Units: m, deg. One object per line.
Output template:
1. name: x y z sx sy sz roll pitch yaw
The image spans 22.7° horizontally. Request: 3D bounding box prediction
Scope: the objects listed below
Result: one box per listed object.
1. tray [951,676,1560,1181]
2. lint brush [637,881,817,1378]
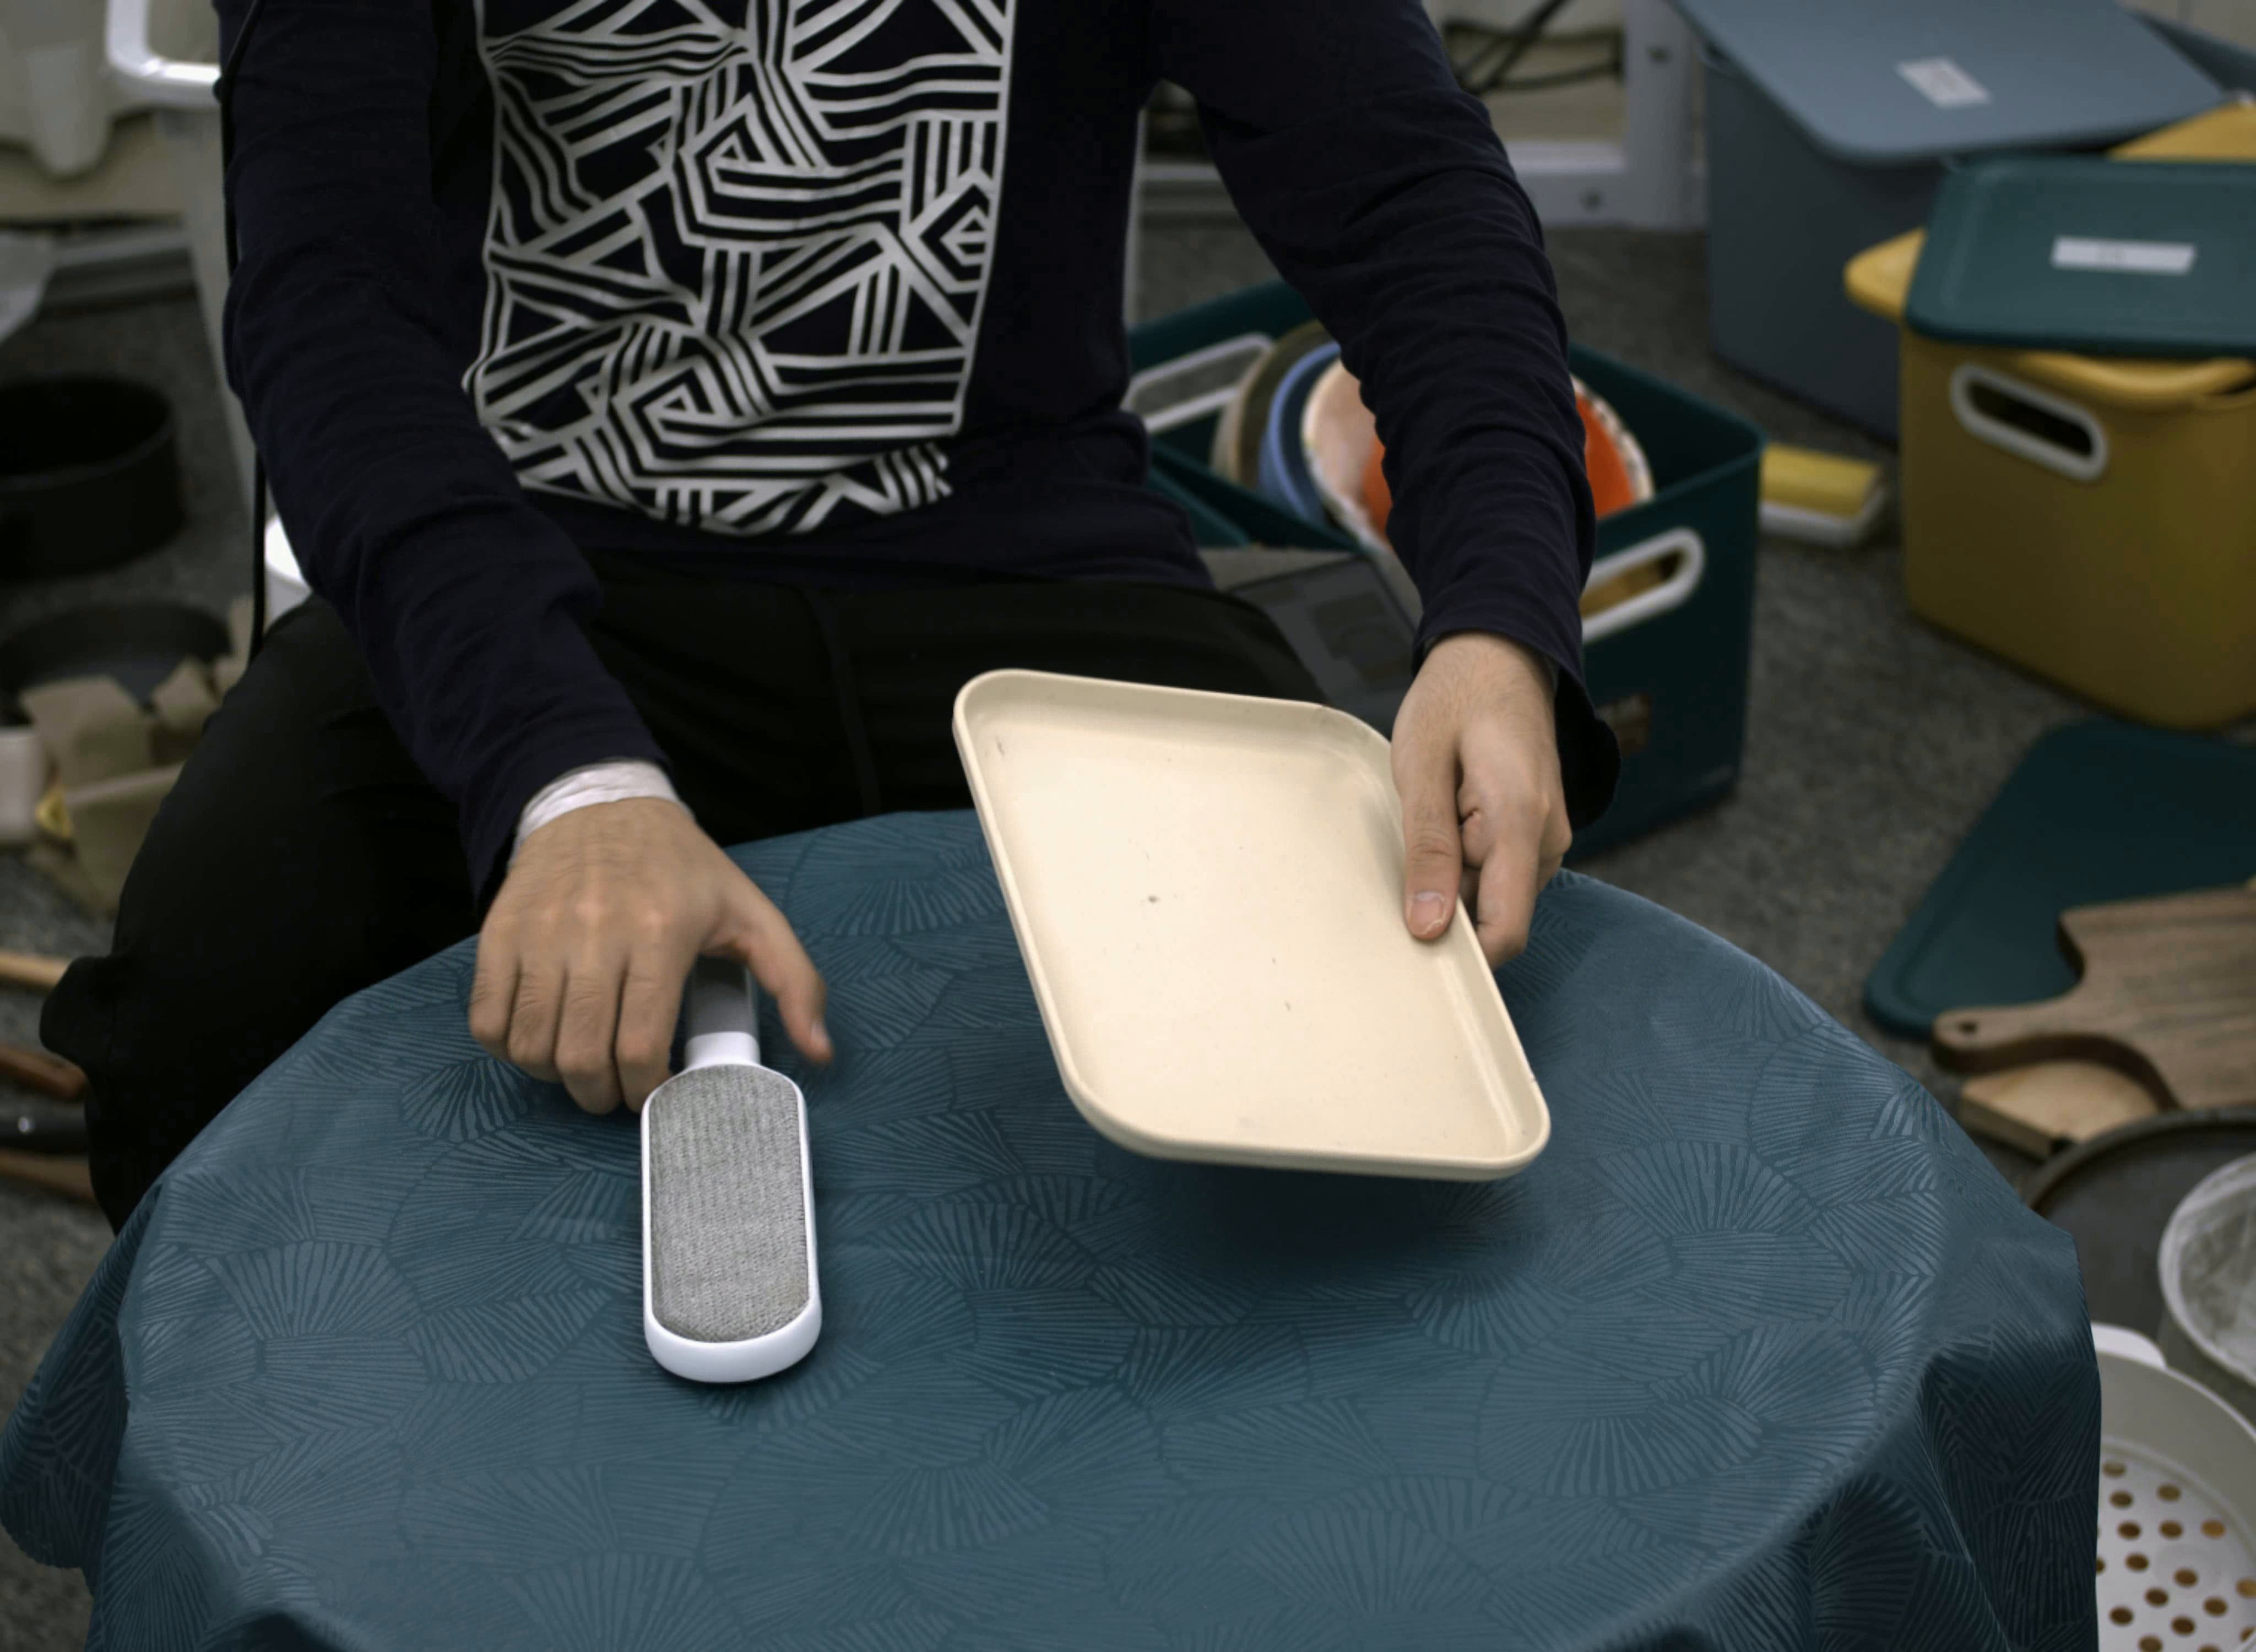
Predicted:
1. tray: 0.039 0.034 1.875 0.171 0.017 0.243 5 38 -21
2. lint brush: -0.135 0.097 1.892 0.060 0.021 0.313 -9 28 0
